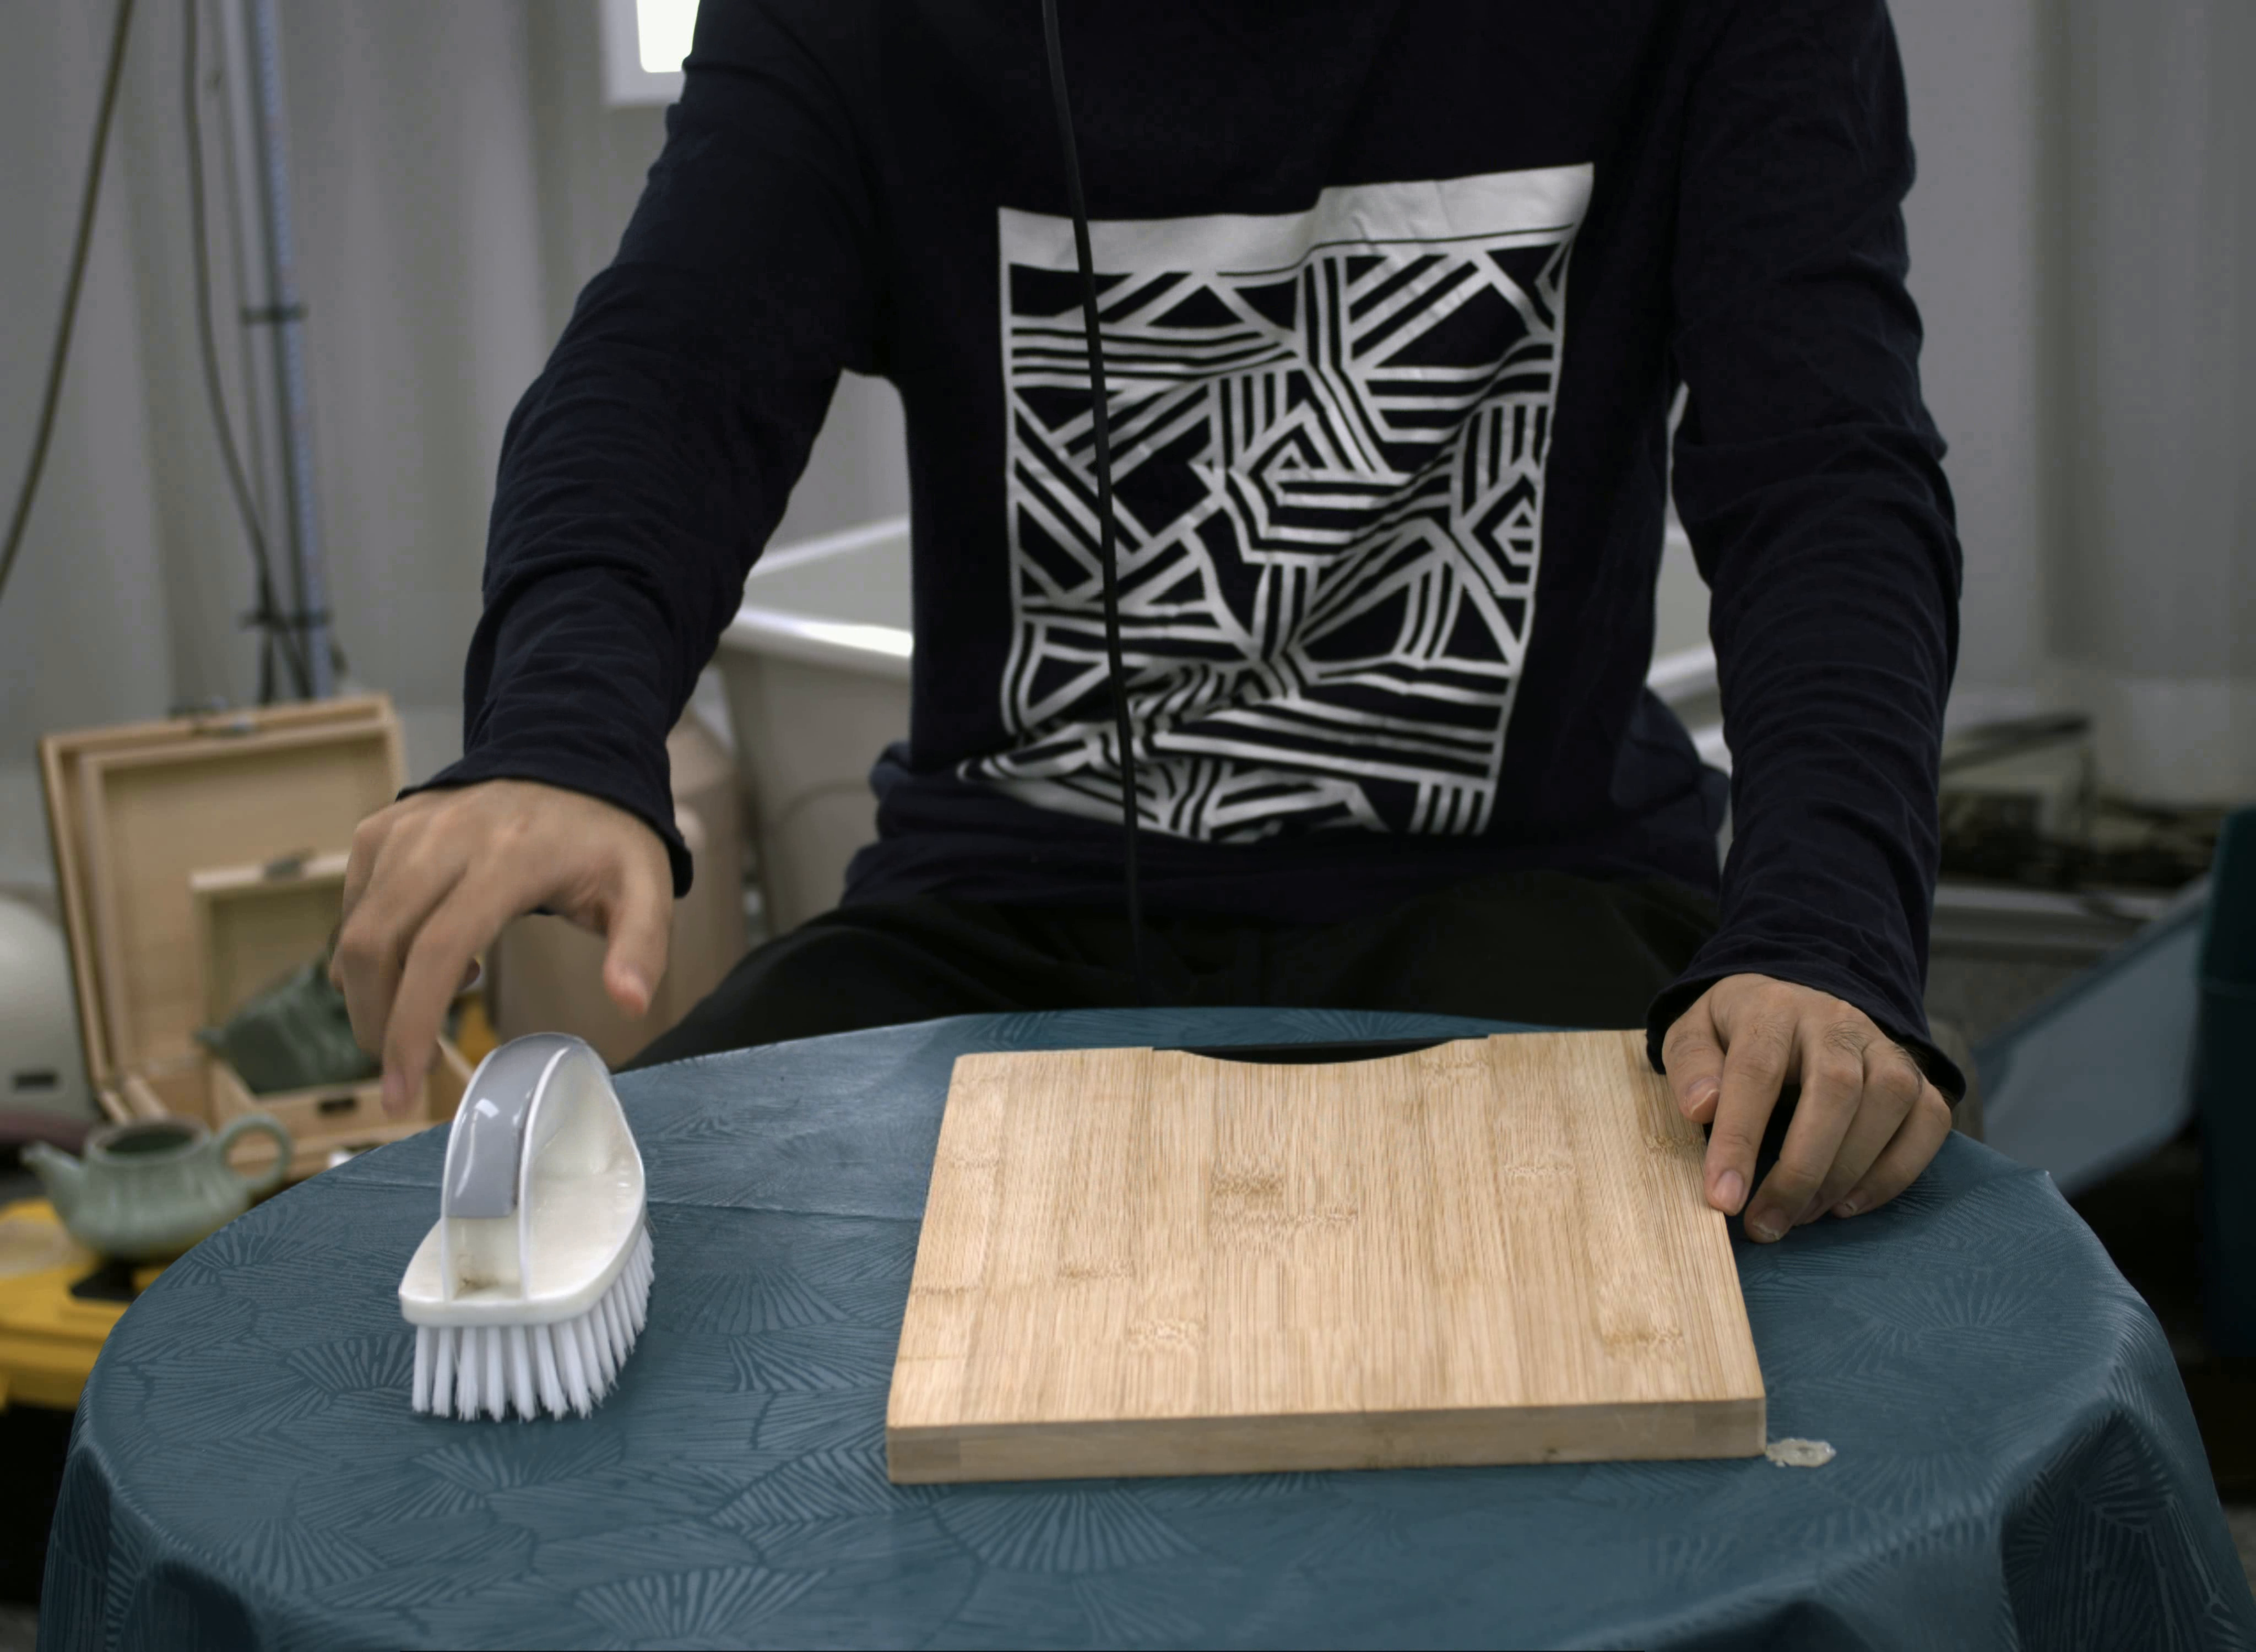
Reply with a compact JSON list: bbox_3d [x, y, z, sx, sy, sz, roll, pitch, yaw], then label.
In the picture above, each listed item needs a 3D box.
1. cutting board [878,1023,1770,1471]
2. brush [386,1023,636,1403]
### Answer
[{"bbox_3d":[0.059,0.122,1.645,0.250,0.023,0.351,-2,15,1],"label":"cutting board"},{"bbox_3d":[-0.175,0.103,1.616,0.061,0.094,0.176,0,13,7],"label":"brush"}]
